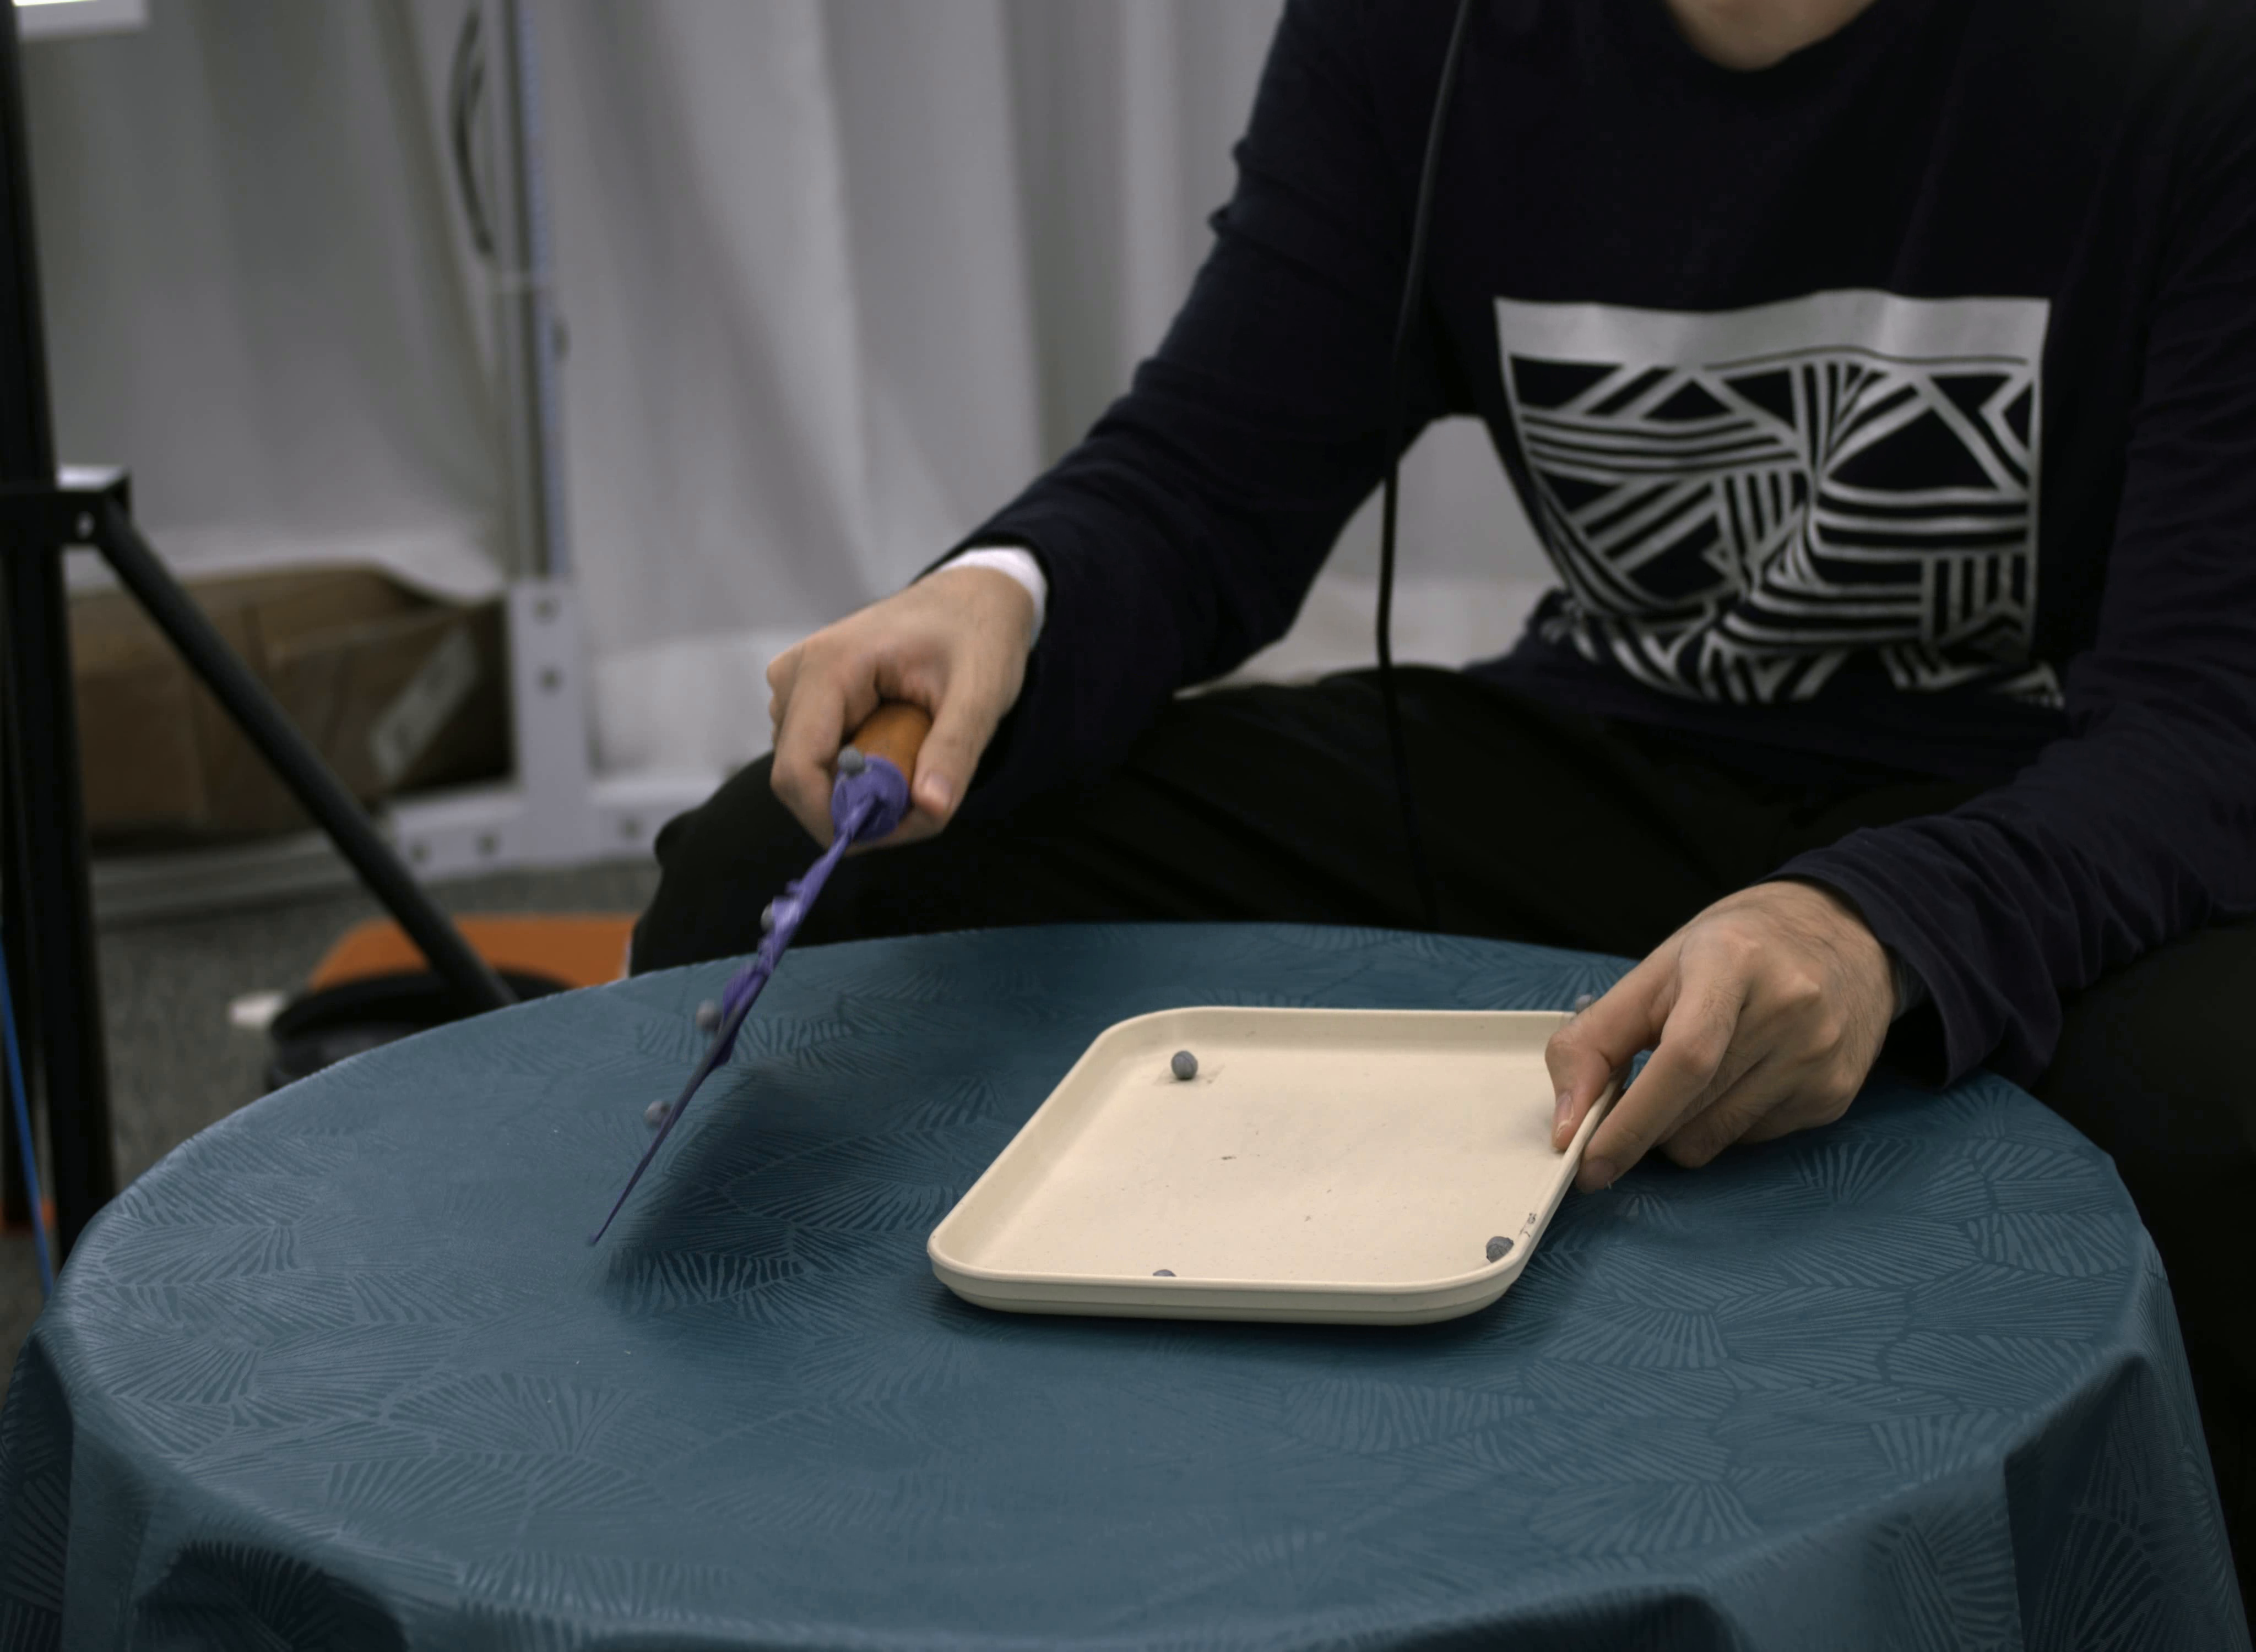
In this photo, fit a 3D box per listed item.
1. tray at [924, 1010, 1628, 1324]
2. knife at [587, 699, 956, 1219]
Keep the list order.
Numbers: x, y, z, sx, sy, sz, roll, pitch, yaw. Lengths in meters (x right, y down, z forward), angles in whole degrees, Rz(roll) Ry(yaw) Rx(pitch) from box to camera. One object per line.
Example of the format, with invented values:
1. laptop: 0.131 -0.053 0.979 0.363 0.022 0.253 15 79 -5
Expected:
1. tray: 0.048 0.098 1.547 0.173 0.017 0.237 -1 16 17
2. knife: -0.111 0.037 1.636 0.032 0.104 0.314 34 19 -1
